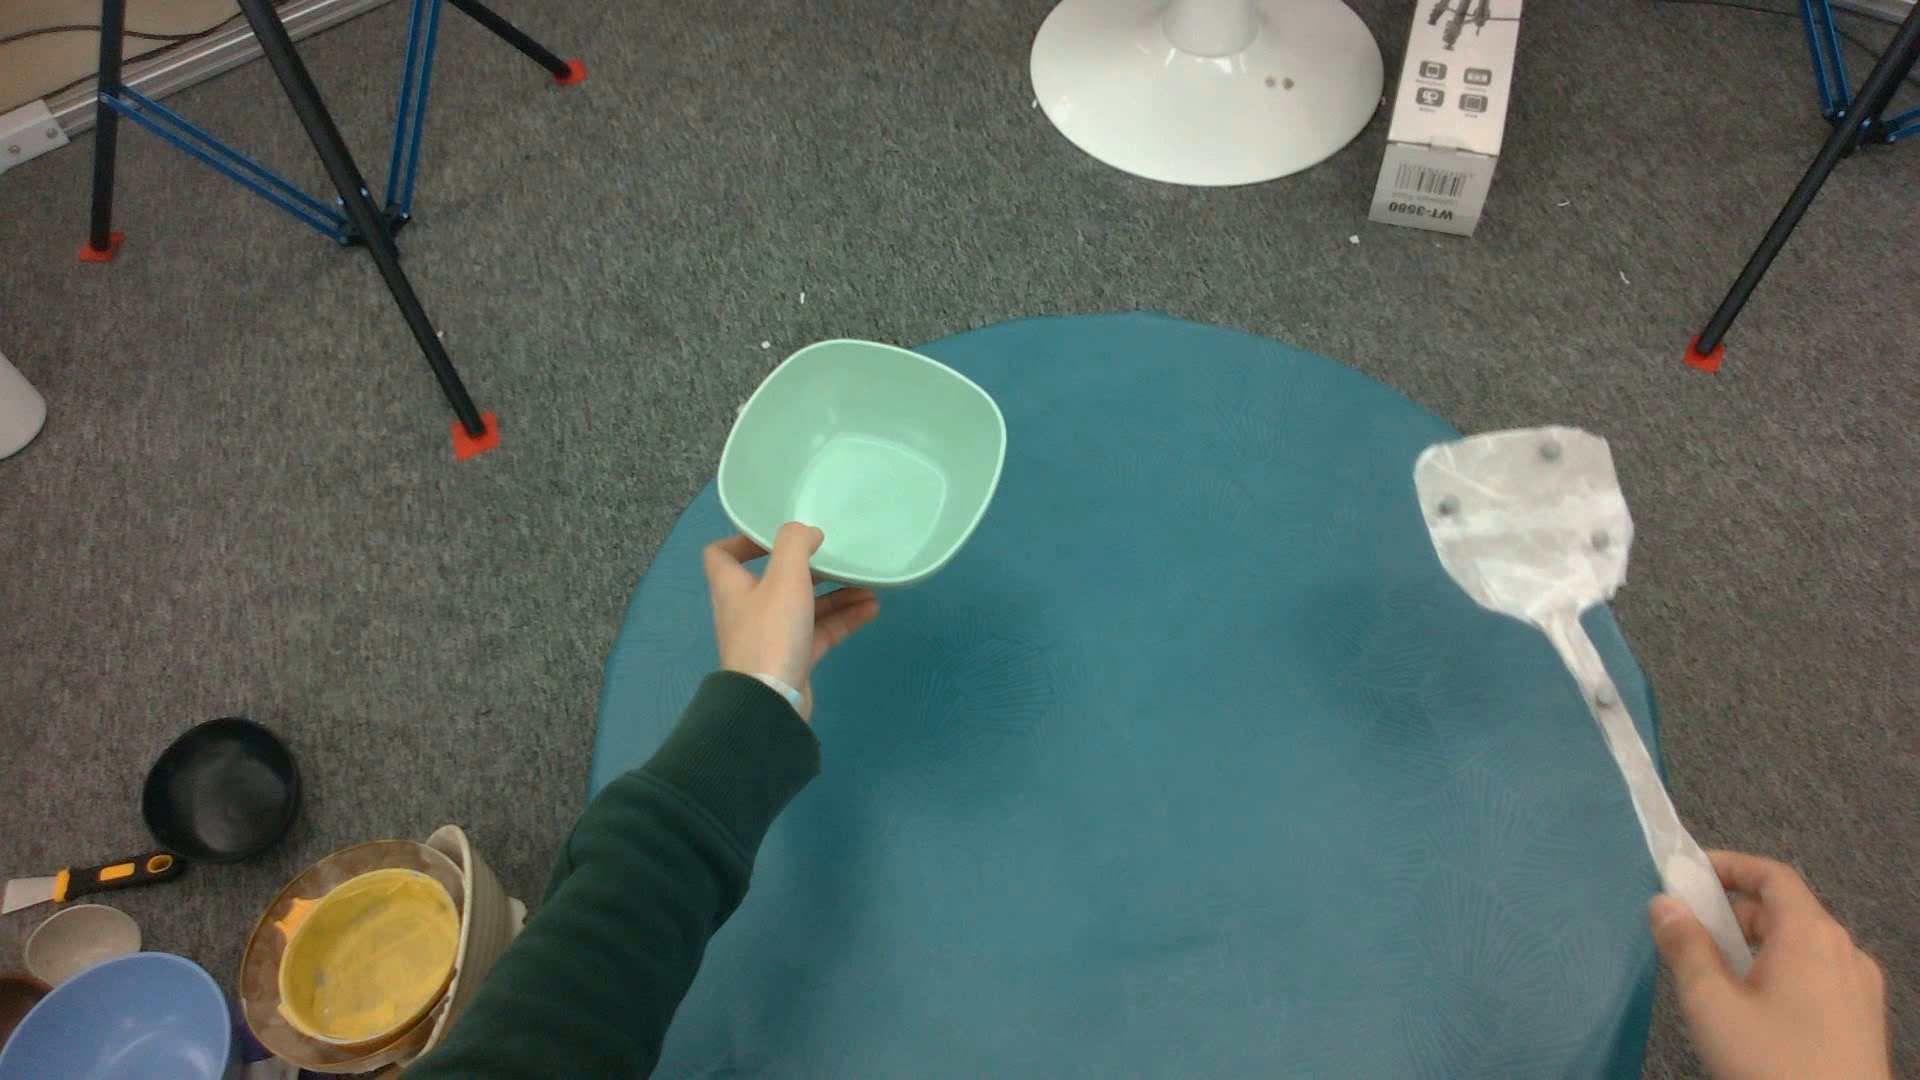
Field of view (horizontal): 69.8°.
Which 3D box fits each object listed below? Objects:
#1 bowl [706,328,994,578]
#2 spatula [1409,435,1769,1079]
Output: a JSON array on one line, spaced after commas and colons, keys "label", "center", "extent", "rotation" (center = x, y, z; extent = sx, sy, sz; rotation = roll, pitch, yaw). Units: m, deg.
[{"label": "bowl", "center": [-0.056, -0.037, 0.725], "extent": [0.151, 0.058, 0.152], "rotation": [1, 61, -1]}, {"label": "spatula", "center": [0.284, 0.084, 0.609], "extent": [0.098, 0.044, 0.366], "rotation": [-5, 42, 5]}]
